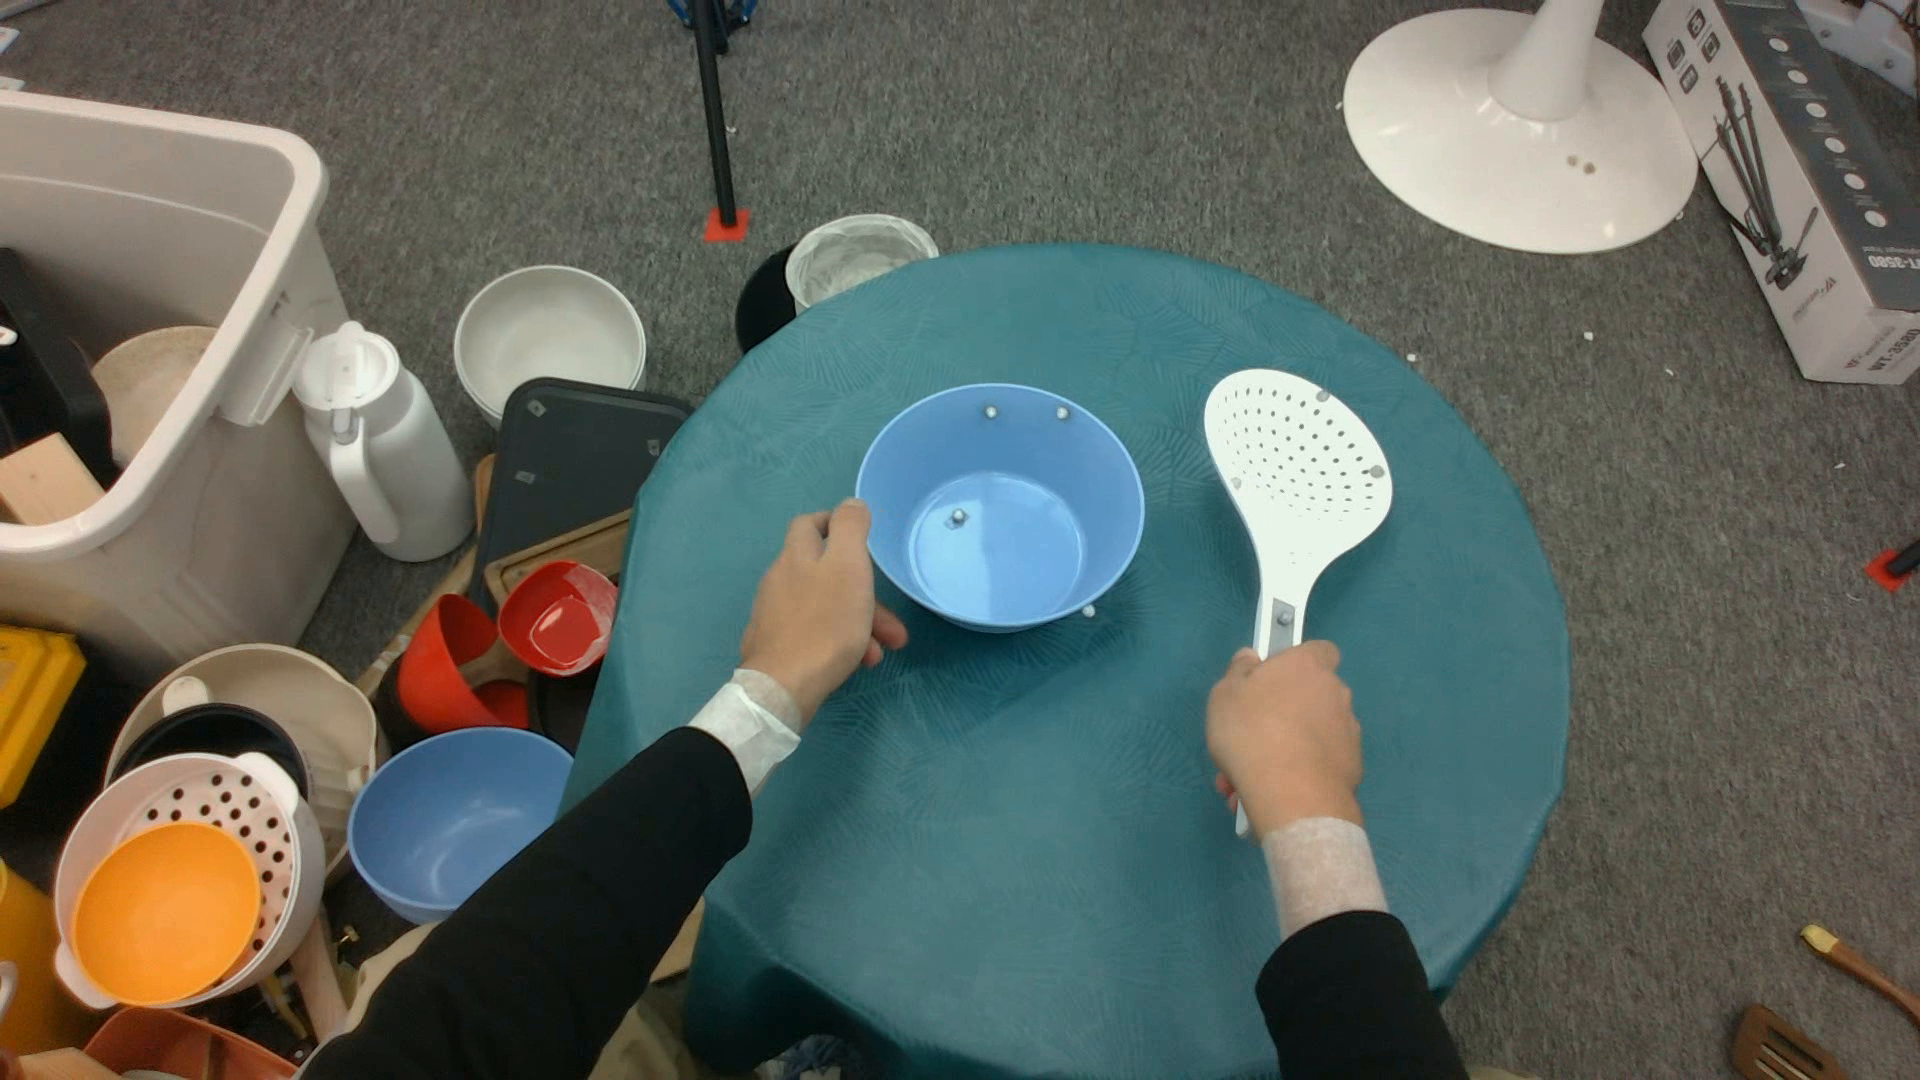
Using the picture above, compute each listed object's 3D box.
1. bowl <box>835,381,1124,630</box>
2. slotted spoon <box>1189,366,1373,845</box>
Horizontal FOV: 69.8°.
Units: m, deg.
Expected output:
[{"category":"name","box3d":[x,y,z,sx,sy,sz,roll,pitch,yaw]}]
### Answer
[{"category":"bowl","box3d":[0.011,-0.011,0.858,0.176,0.070,0.177,1,58,-2]},{"category":"slotted spoon","box3d":[0.184,0.025,0.829,0.136,0.045,0.351,23,45,-9]}]
